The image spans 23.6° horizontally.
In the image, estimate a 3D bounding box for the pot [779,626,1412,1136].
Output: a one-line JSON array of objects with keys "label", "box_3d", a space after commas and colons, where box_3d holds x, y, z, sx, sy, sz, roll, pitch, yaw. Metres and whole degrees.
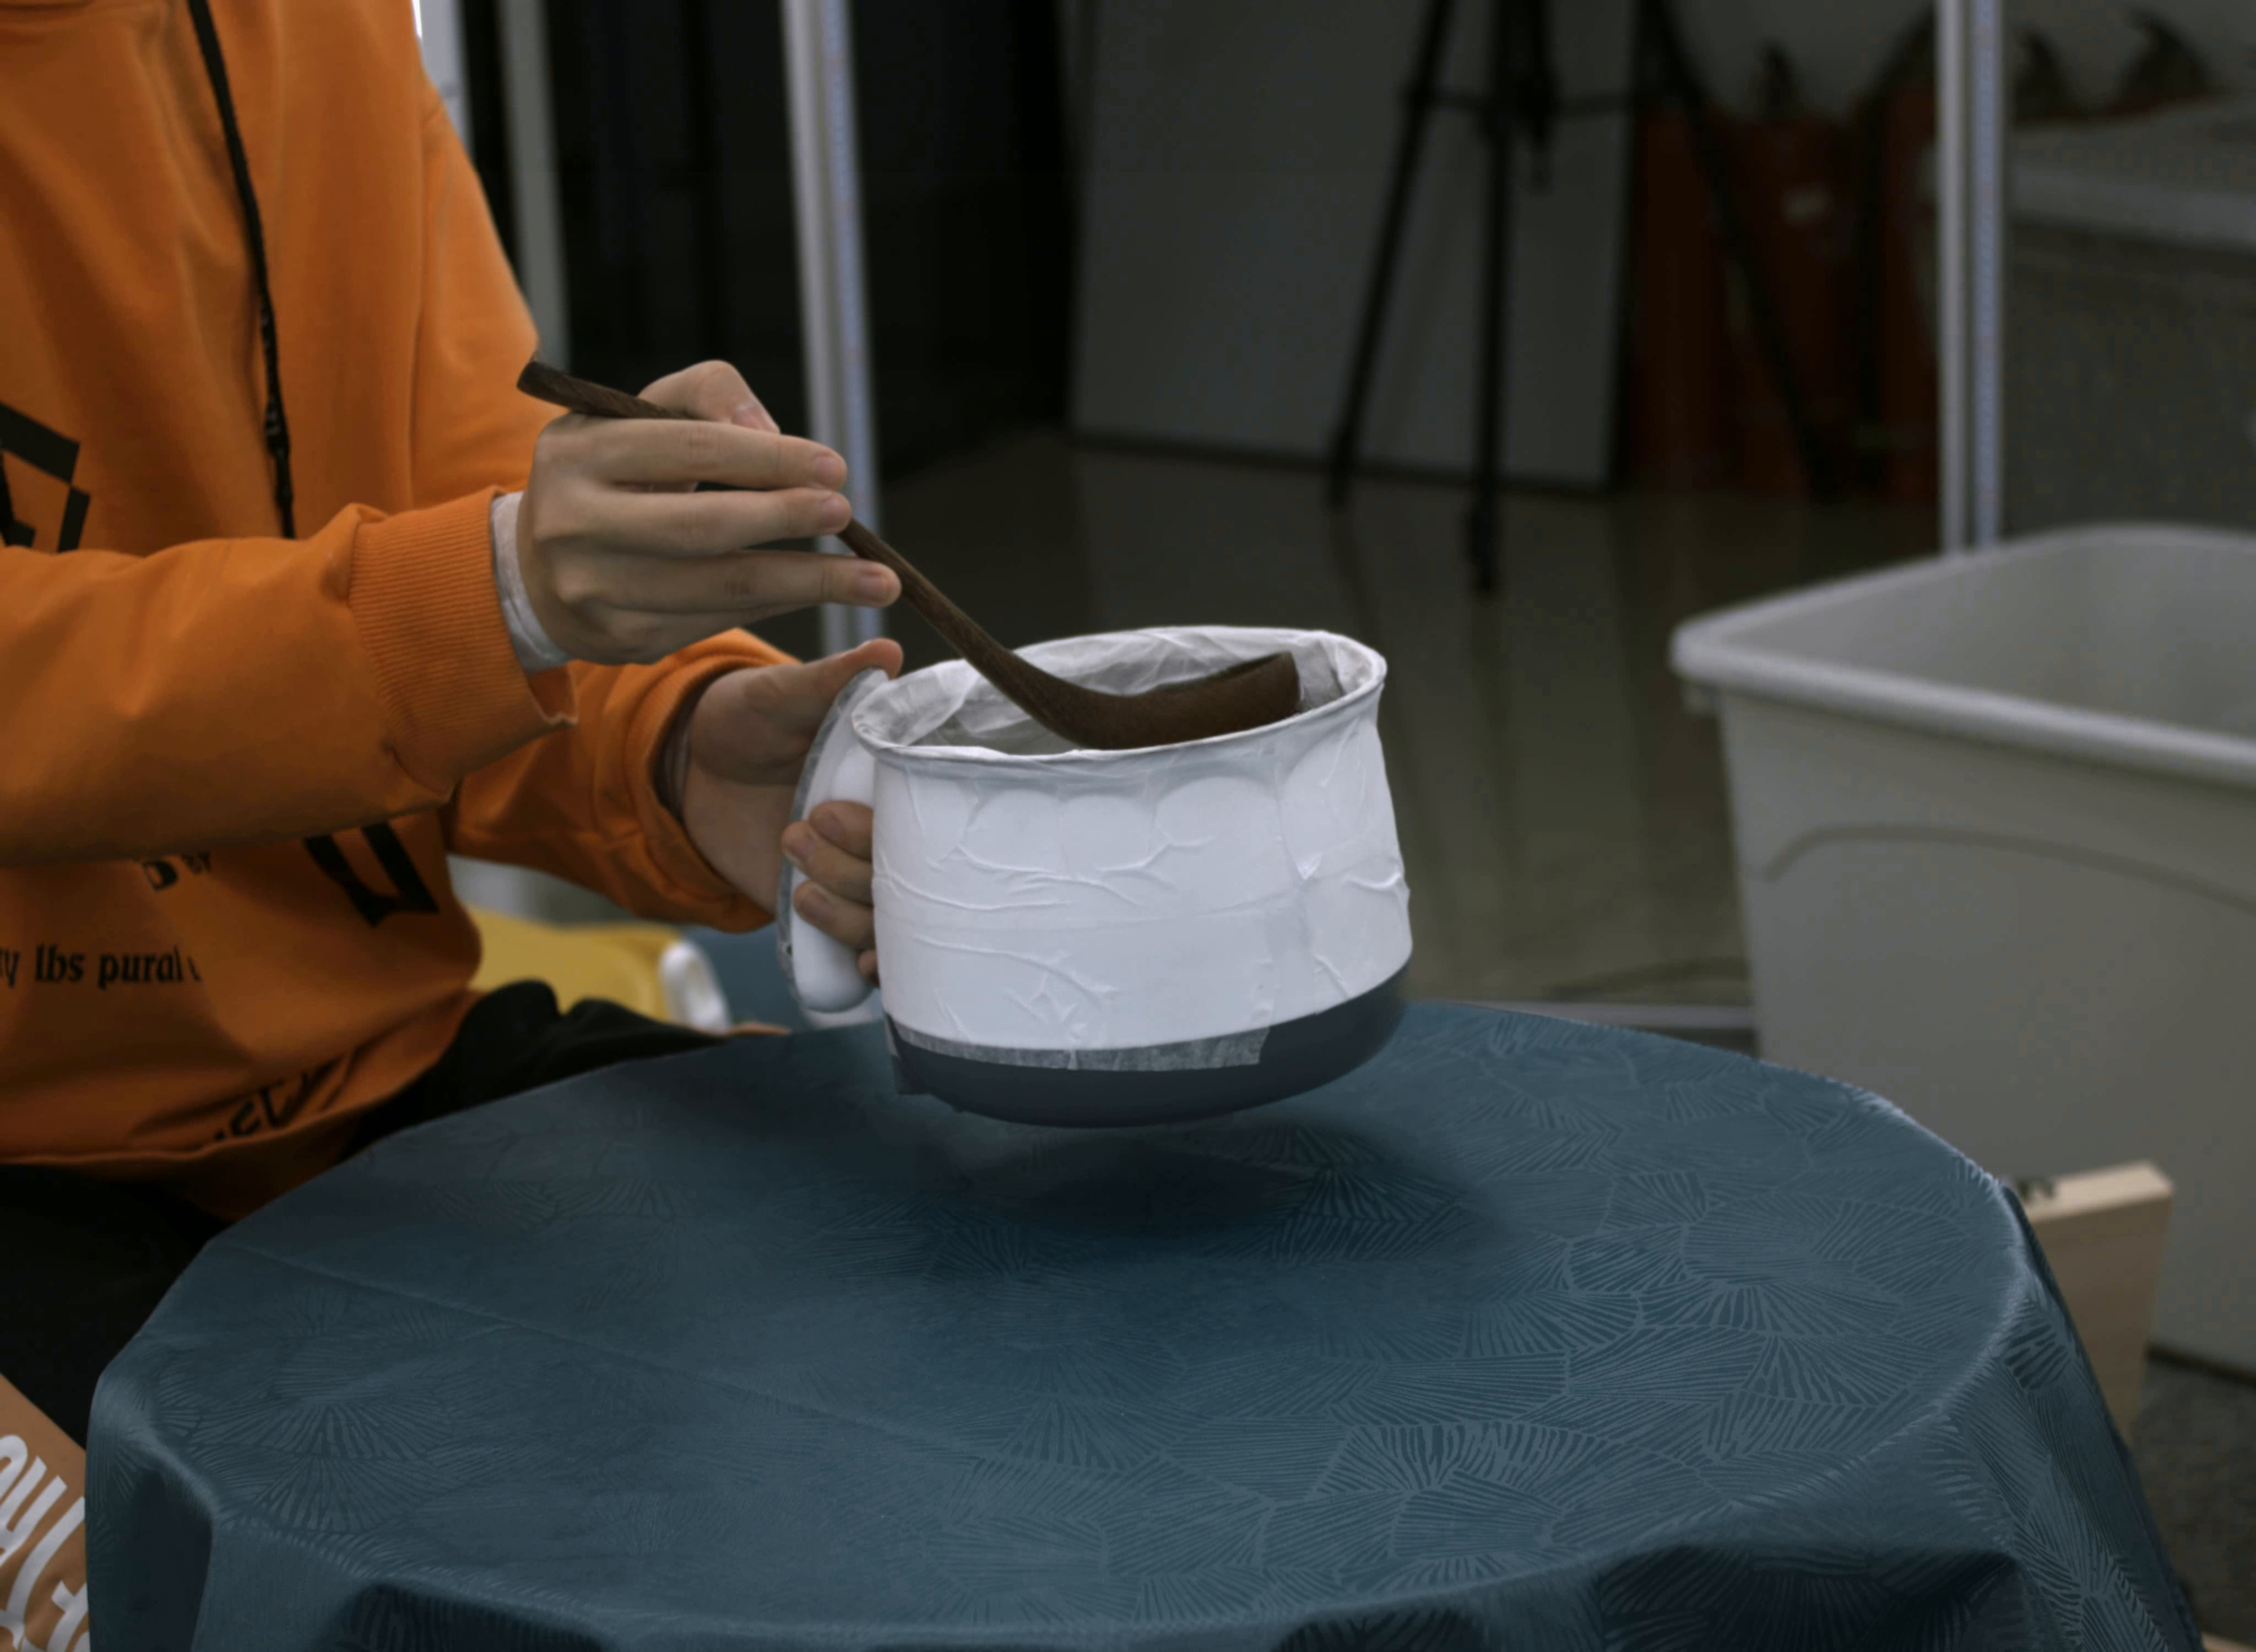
[{"label": "pot", "box_3d": [-0.020, 0.017, 1.780, 0.235, 0.138, 0.176, 1, 15, 33]}]

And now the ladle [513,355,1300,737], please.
[{"label": "ladle", "box_3d": [-0.068, -0.102, 1.770, 0.272, 0.071, 0.076, 34, -9, -7]}]
